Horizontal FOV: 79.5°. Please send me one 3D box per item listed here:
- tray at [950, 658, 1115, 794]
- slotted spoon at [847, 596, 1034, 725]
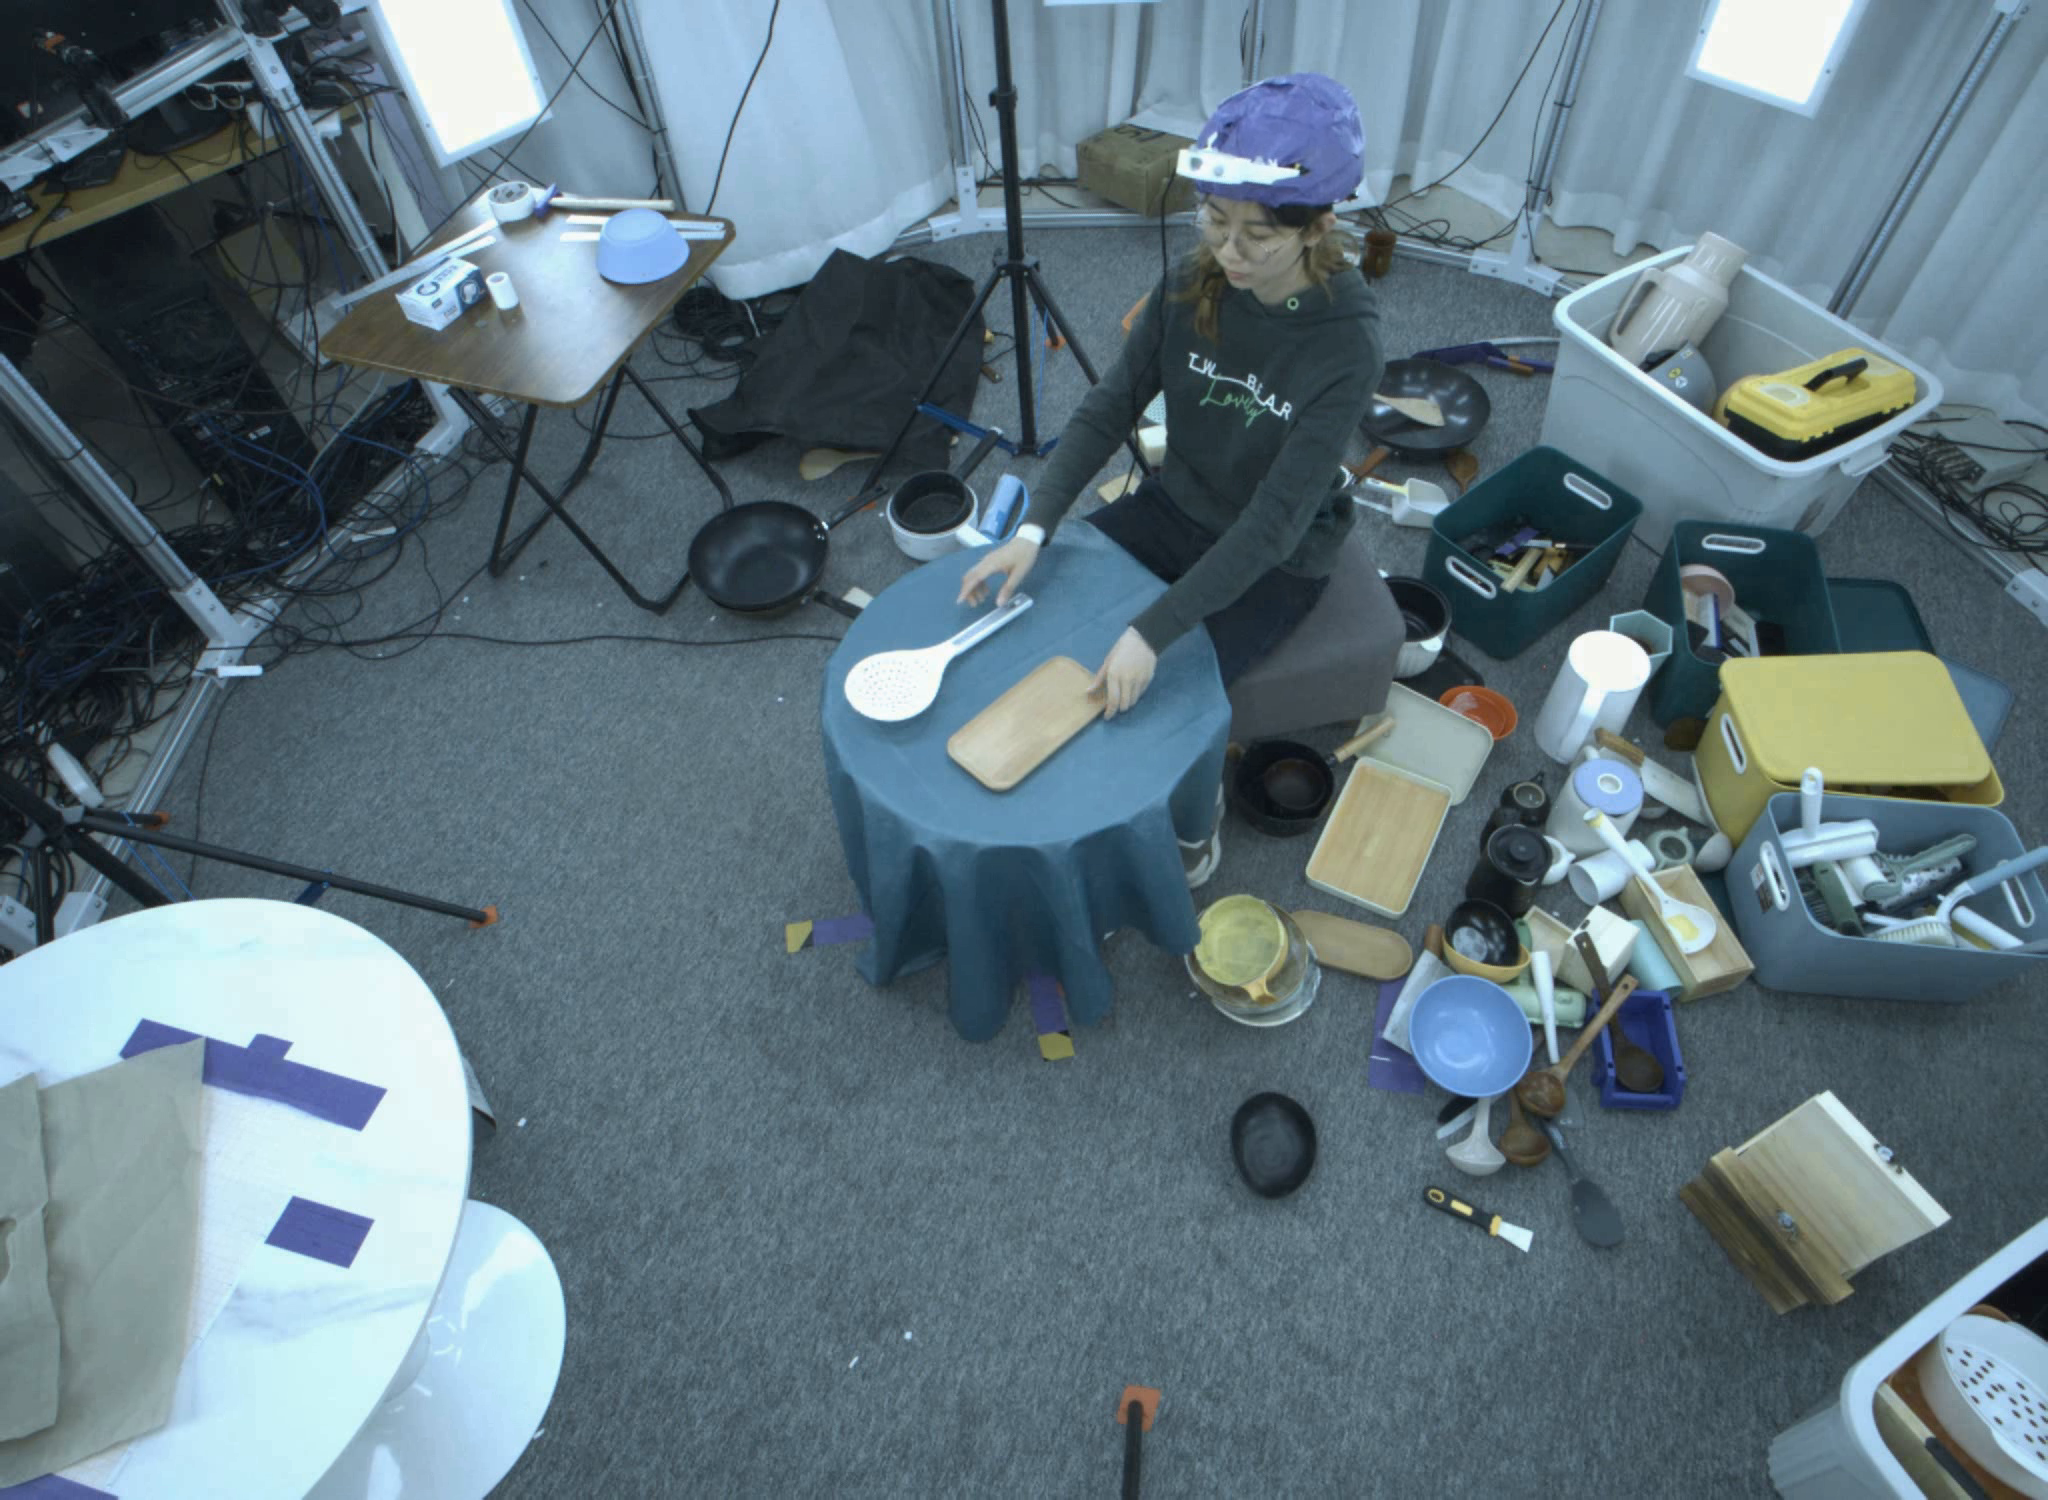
[{"bbox_3d":[0.014,-0.037,1.814,0.252,0.023,0.128,-39,64,-24],"label":"tray"},{"bbox_3d":[-0.118,-0.145,1.875,0.352,0.046,0.134,-39,65,-24],"label":"slotted spoon"}]
